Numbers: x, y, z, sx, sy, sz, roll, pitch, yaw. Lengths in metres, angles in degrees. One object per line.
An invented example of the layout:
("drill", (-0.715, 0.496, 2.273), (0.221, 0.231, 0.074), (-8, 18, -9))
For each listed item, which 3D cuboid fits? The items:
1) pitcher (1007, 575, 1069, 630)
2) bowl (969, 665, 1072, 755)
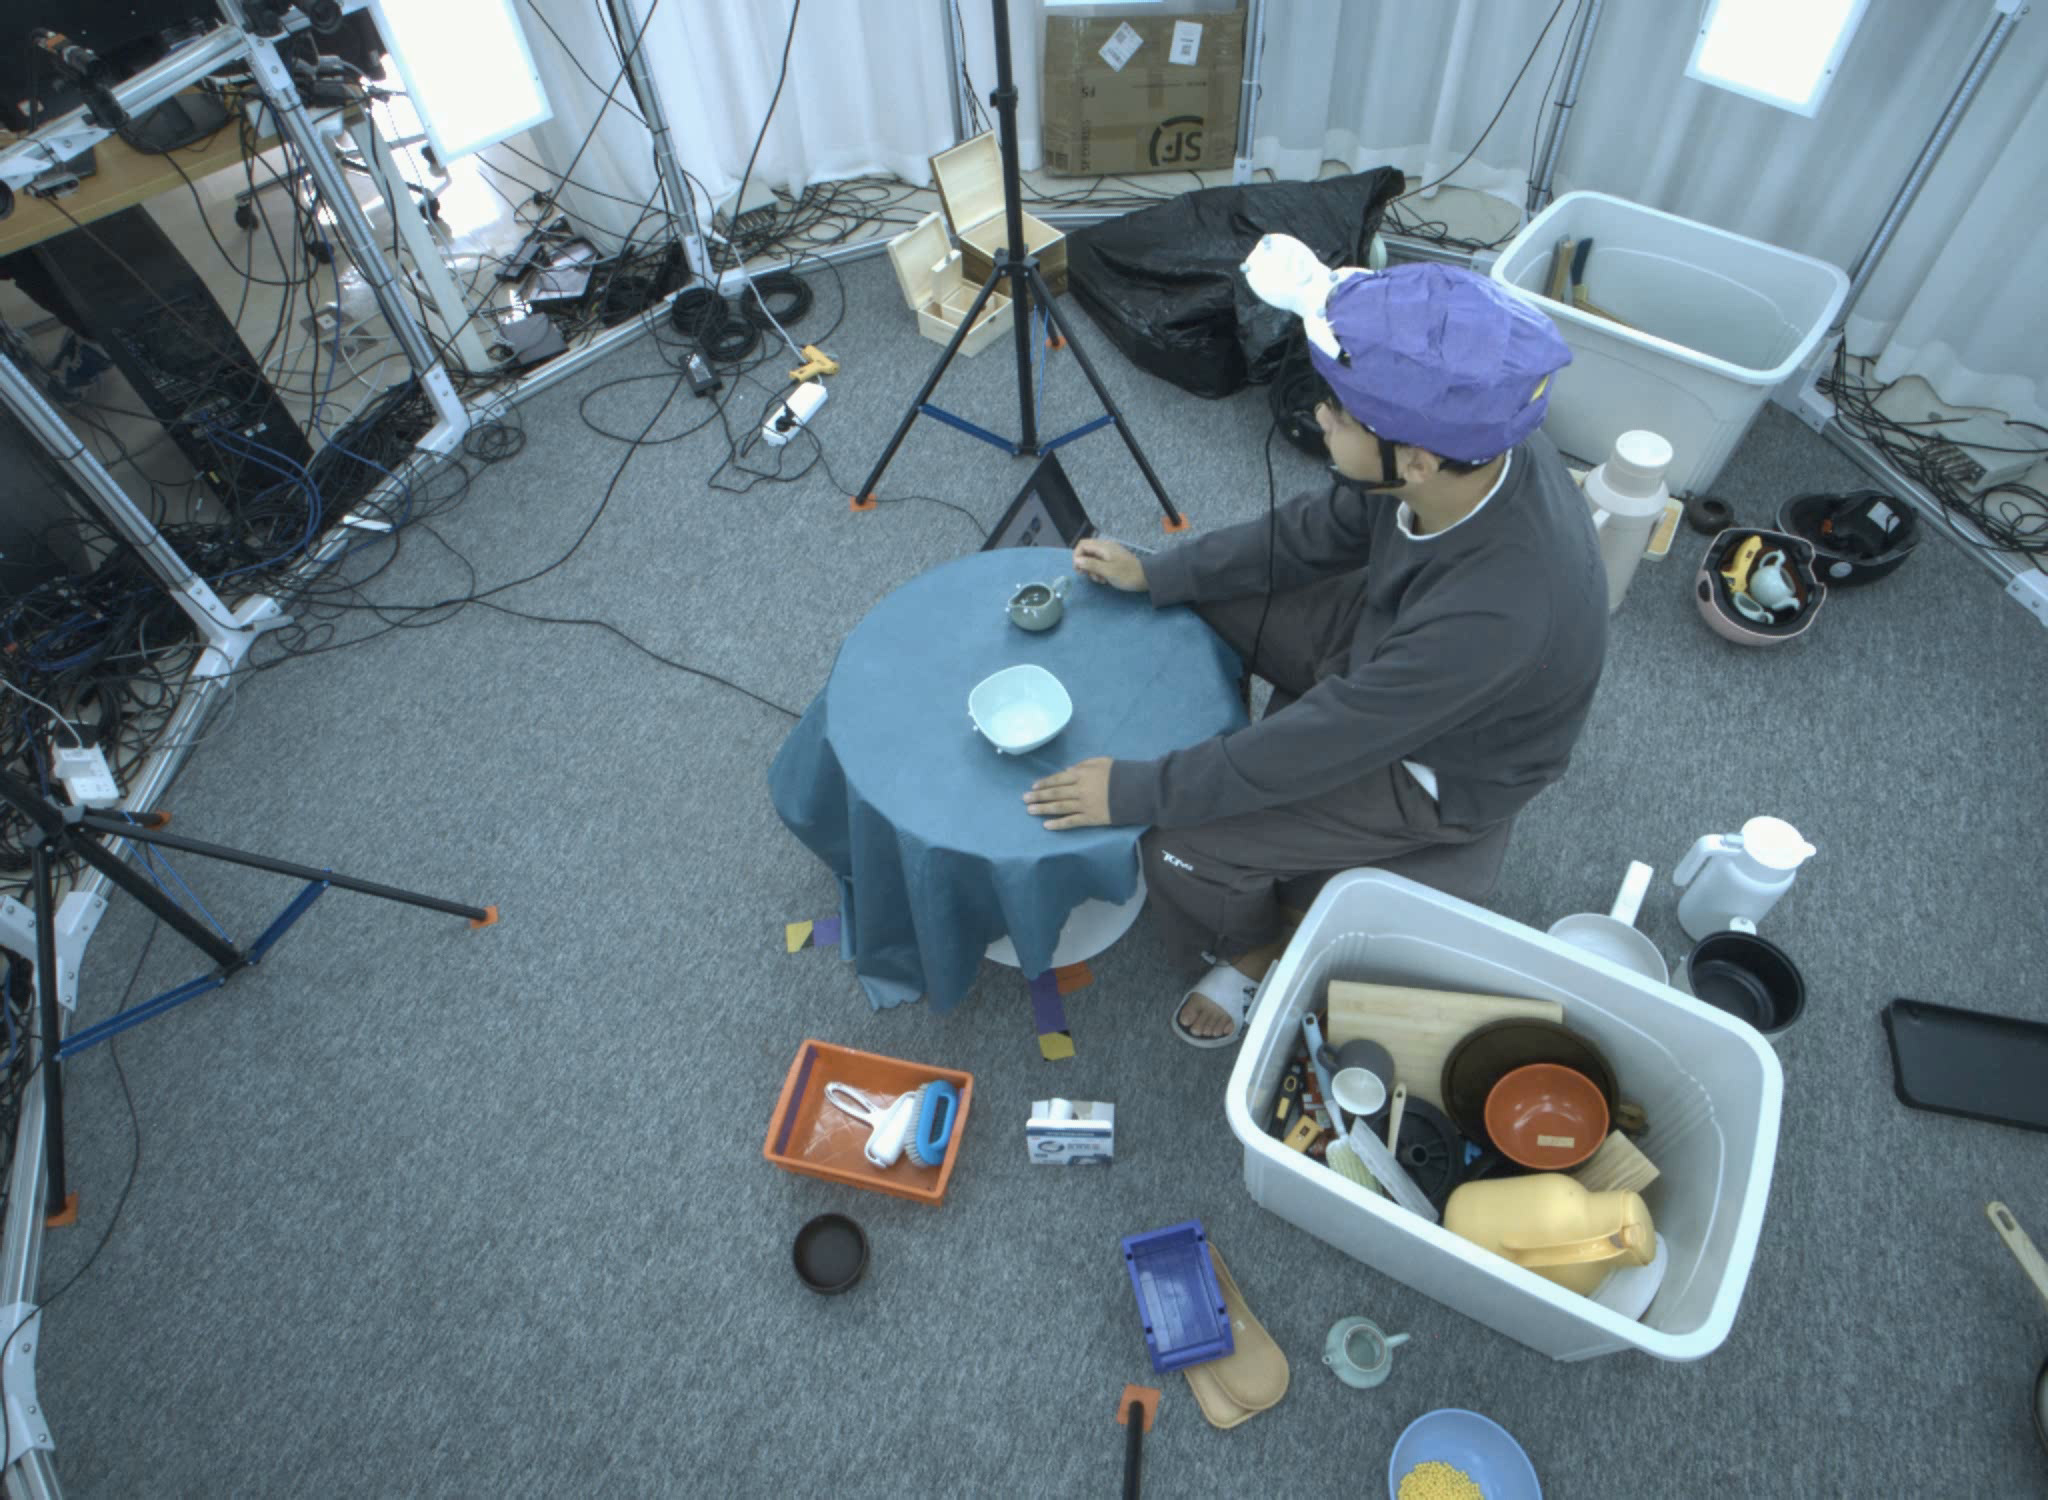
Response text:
("pitcher", (0.022, -0.232, 1.917), (0.113, 0.057, 0.082), (-30, 59, -19))
("bowl", (-0.003, -0.048, 1.788), (0.151, 0.059, 0.150), (-1, 55, 3))
